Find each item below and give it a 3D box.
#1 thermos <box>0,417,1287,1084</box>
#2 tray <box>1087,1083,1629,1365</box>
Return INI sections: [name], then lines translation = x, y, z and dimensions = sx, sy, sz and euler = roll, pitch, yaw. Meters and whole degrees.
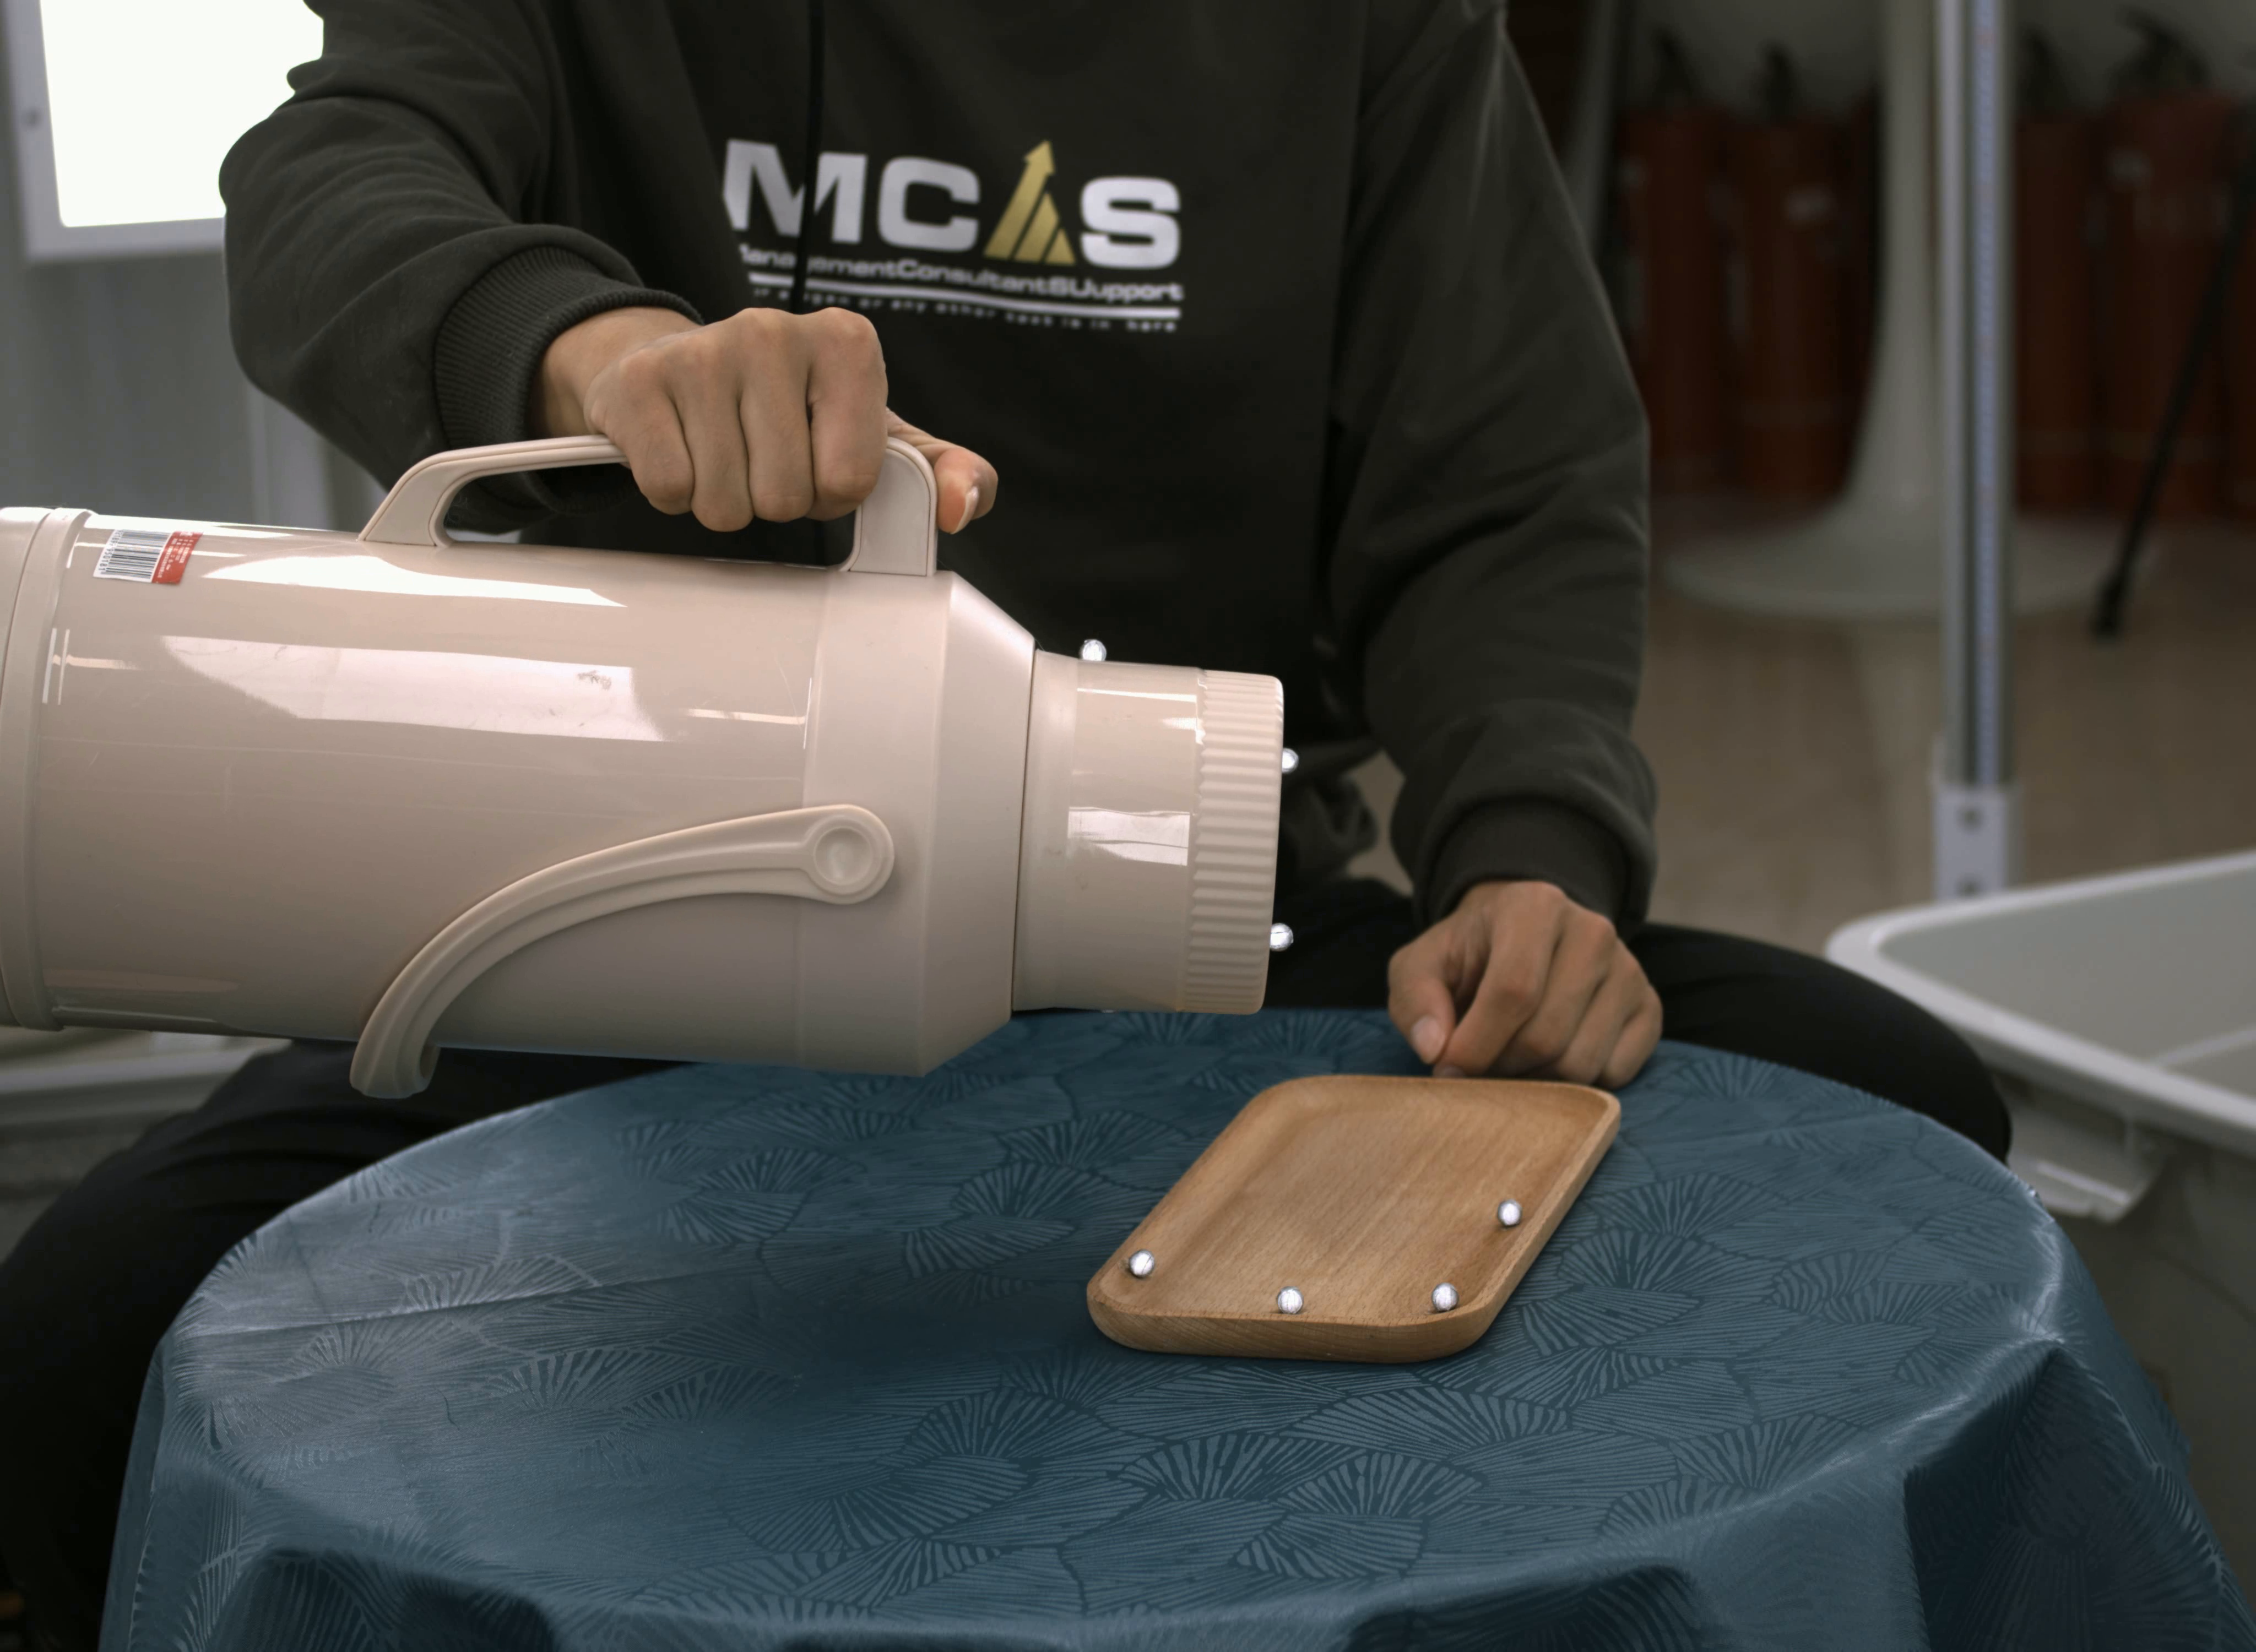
[thermos]
translation = -0.153, -0.022, 1.646
dimensions = 0.401, 0.209, 0.175
euler = 3, 7, 3
[tray]
translation = 0.077, 0.124, 1.713
dimensions = 0.130, 0.023, 0.248
euler = 3, 14, 18
